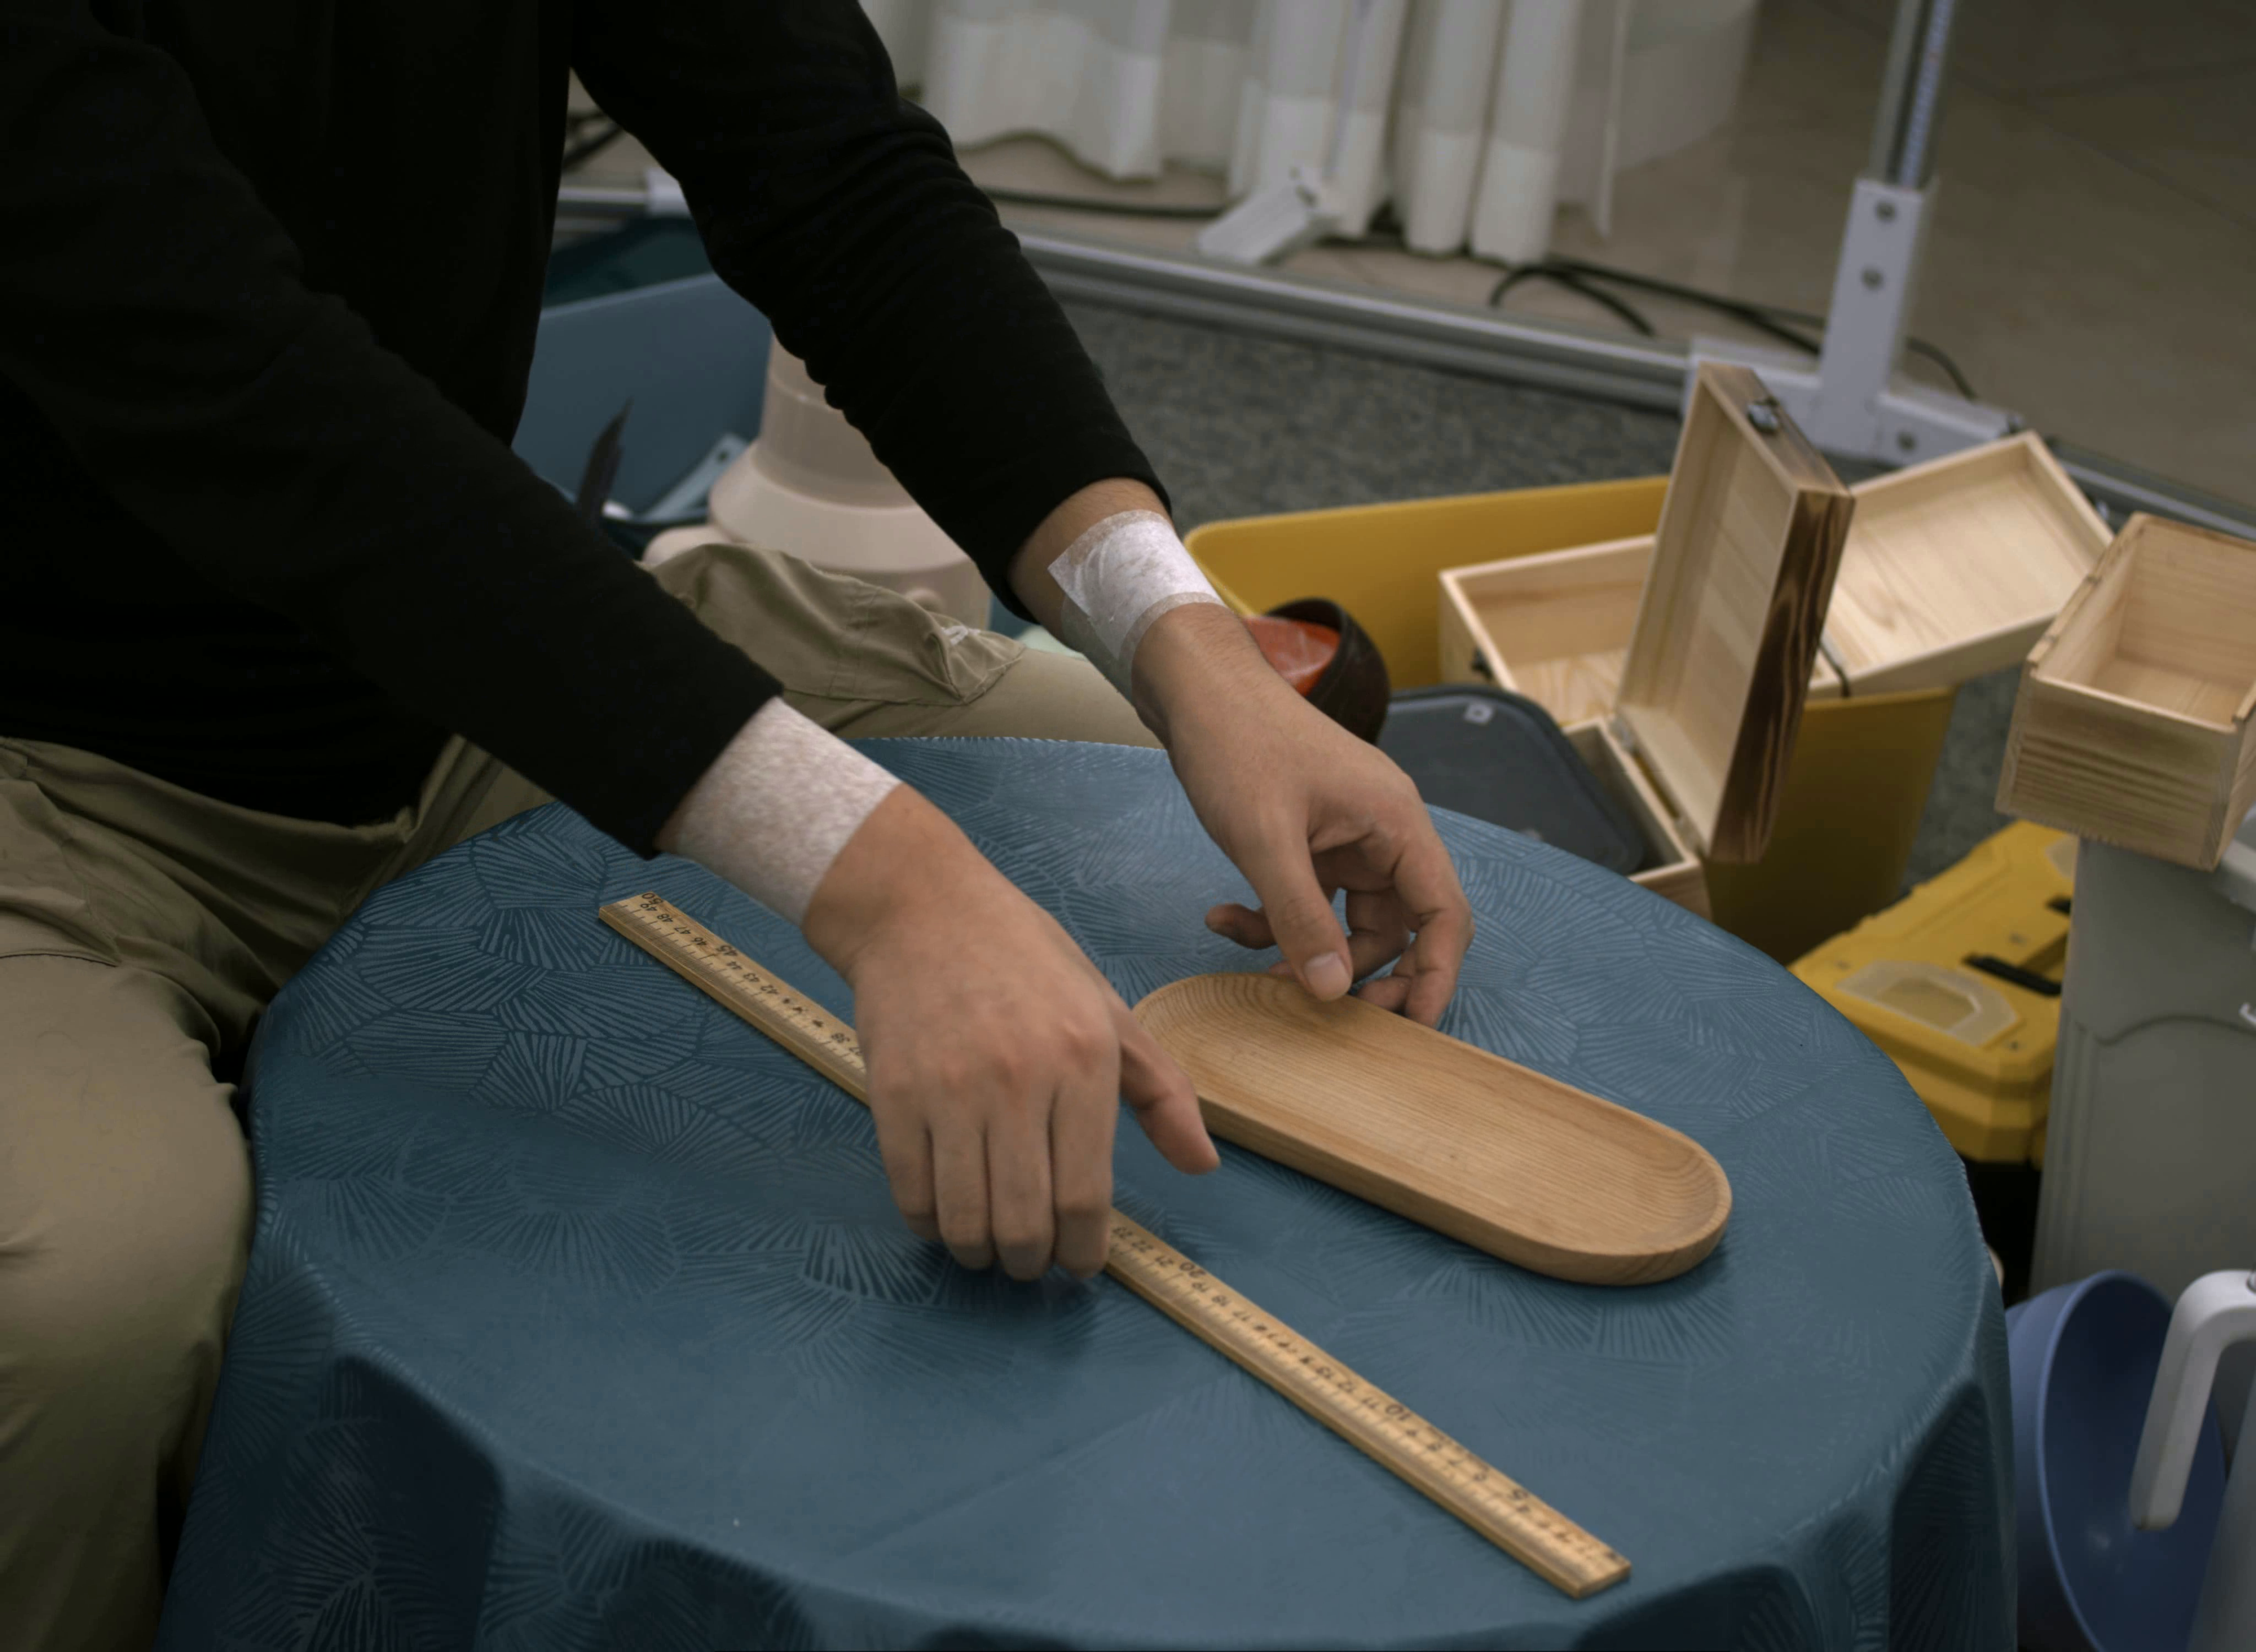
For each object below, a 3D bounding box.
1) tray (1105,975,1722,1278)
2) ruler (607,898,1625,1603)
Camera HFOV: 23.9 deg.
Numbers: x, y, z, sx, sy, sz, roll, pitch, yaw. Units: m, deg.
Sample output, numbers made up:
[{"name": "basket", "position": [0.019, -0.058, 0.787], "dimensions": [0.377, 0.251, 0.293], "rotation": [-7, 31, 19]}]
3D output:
[{"name": "tray", "position": [0.097, 0.103, 1.845], "dimensions": [0.232, 0.020, 0.101], "rotation": [19, 28, 27]}, {"name": "ruler", "position": [-0.018, 0.130, 1.780], "dimensions": [0.026, 0.006, 0.504], "rotation": [-15, 34, -38]}]
